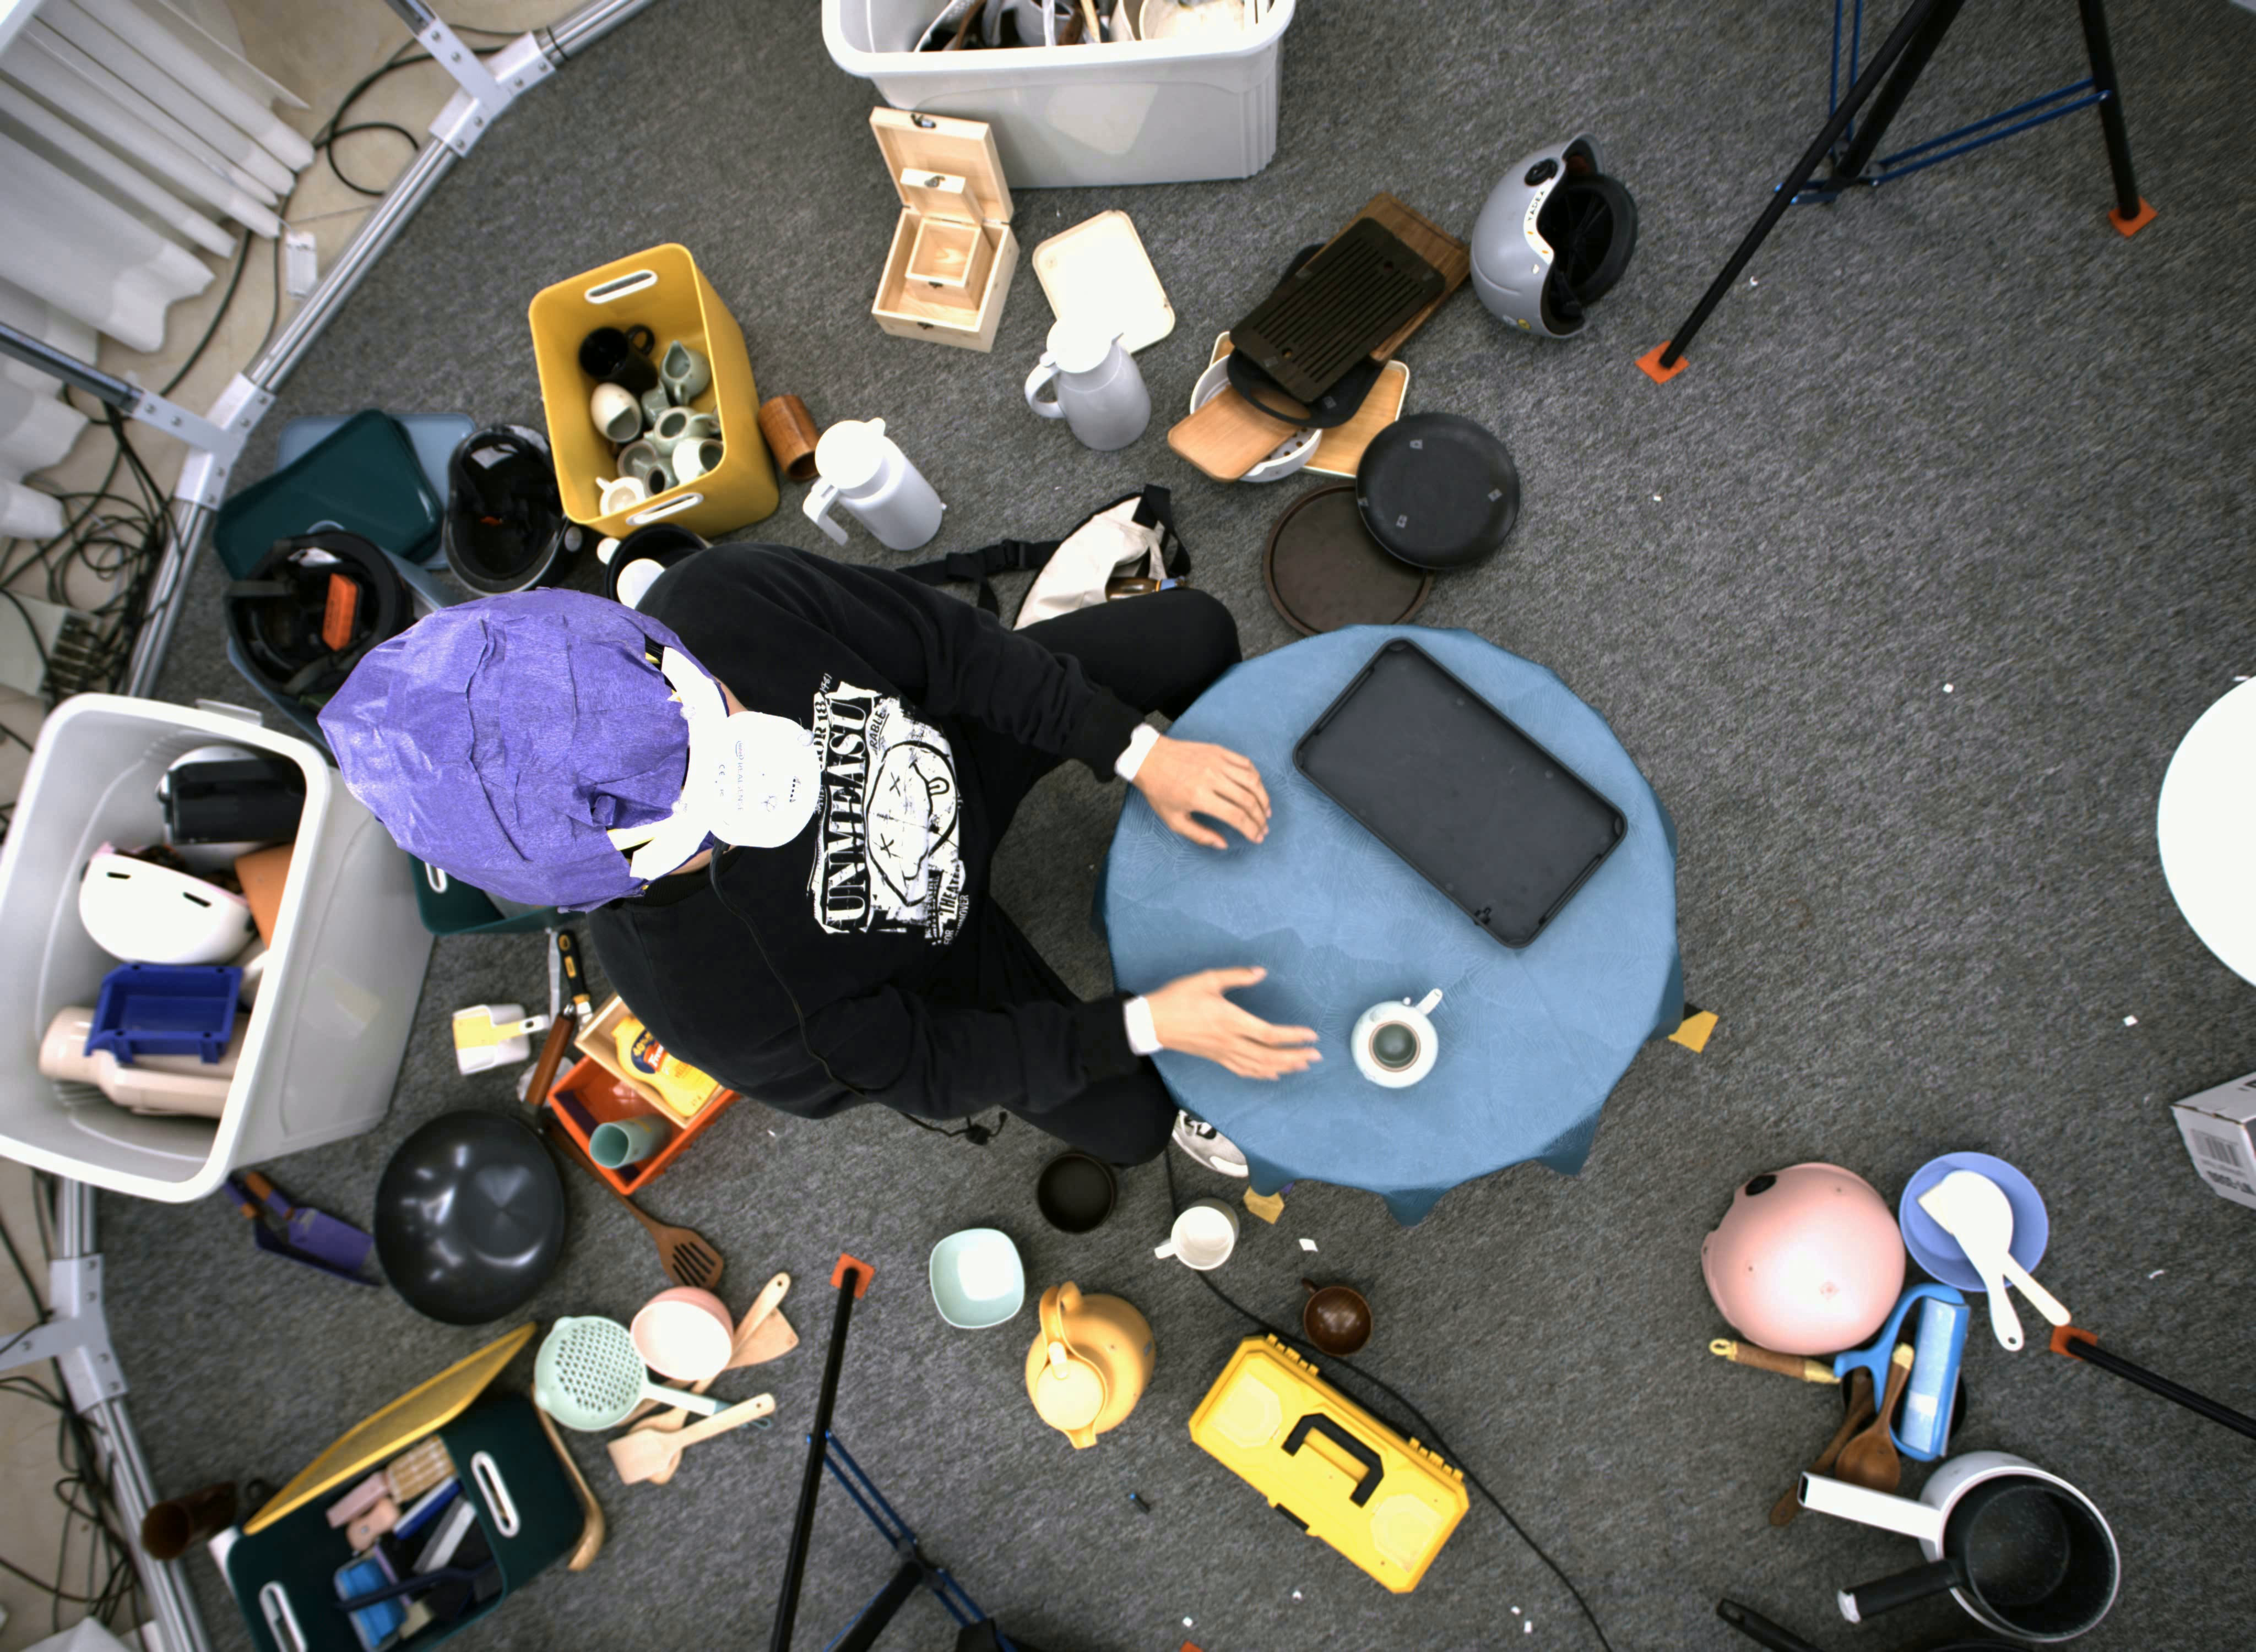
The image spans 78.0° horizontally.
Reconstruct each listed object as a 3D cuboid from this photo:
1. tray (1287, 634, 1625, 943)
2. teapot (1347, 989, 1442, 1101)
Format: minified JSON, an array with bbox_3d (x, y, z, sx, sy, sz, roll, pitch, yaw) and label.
[{"bbox_3d":[0.339,-0.042,1.435,0.317,0.037,0.185,39,95,10],"label":"tray"},{"bbox_3d":[0.274,0.220,1.416,0.088,0.074,0.145,41,97,11],"label":"teapot"}]
